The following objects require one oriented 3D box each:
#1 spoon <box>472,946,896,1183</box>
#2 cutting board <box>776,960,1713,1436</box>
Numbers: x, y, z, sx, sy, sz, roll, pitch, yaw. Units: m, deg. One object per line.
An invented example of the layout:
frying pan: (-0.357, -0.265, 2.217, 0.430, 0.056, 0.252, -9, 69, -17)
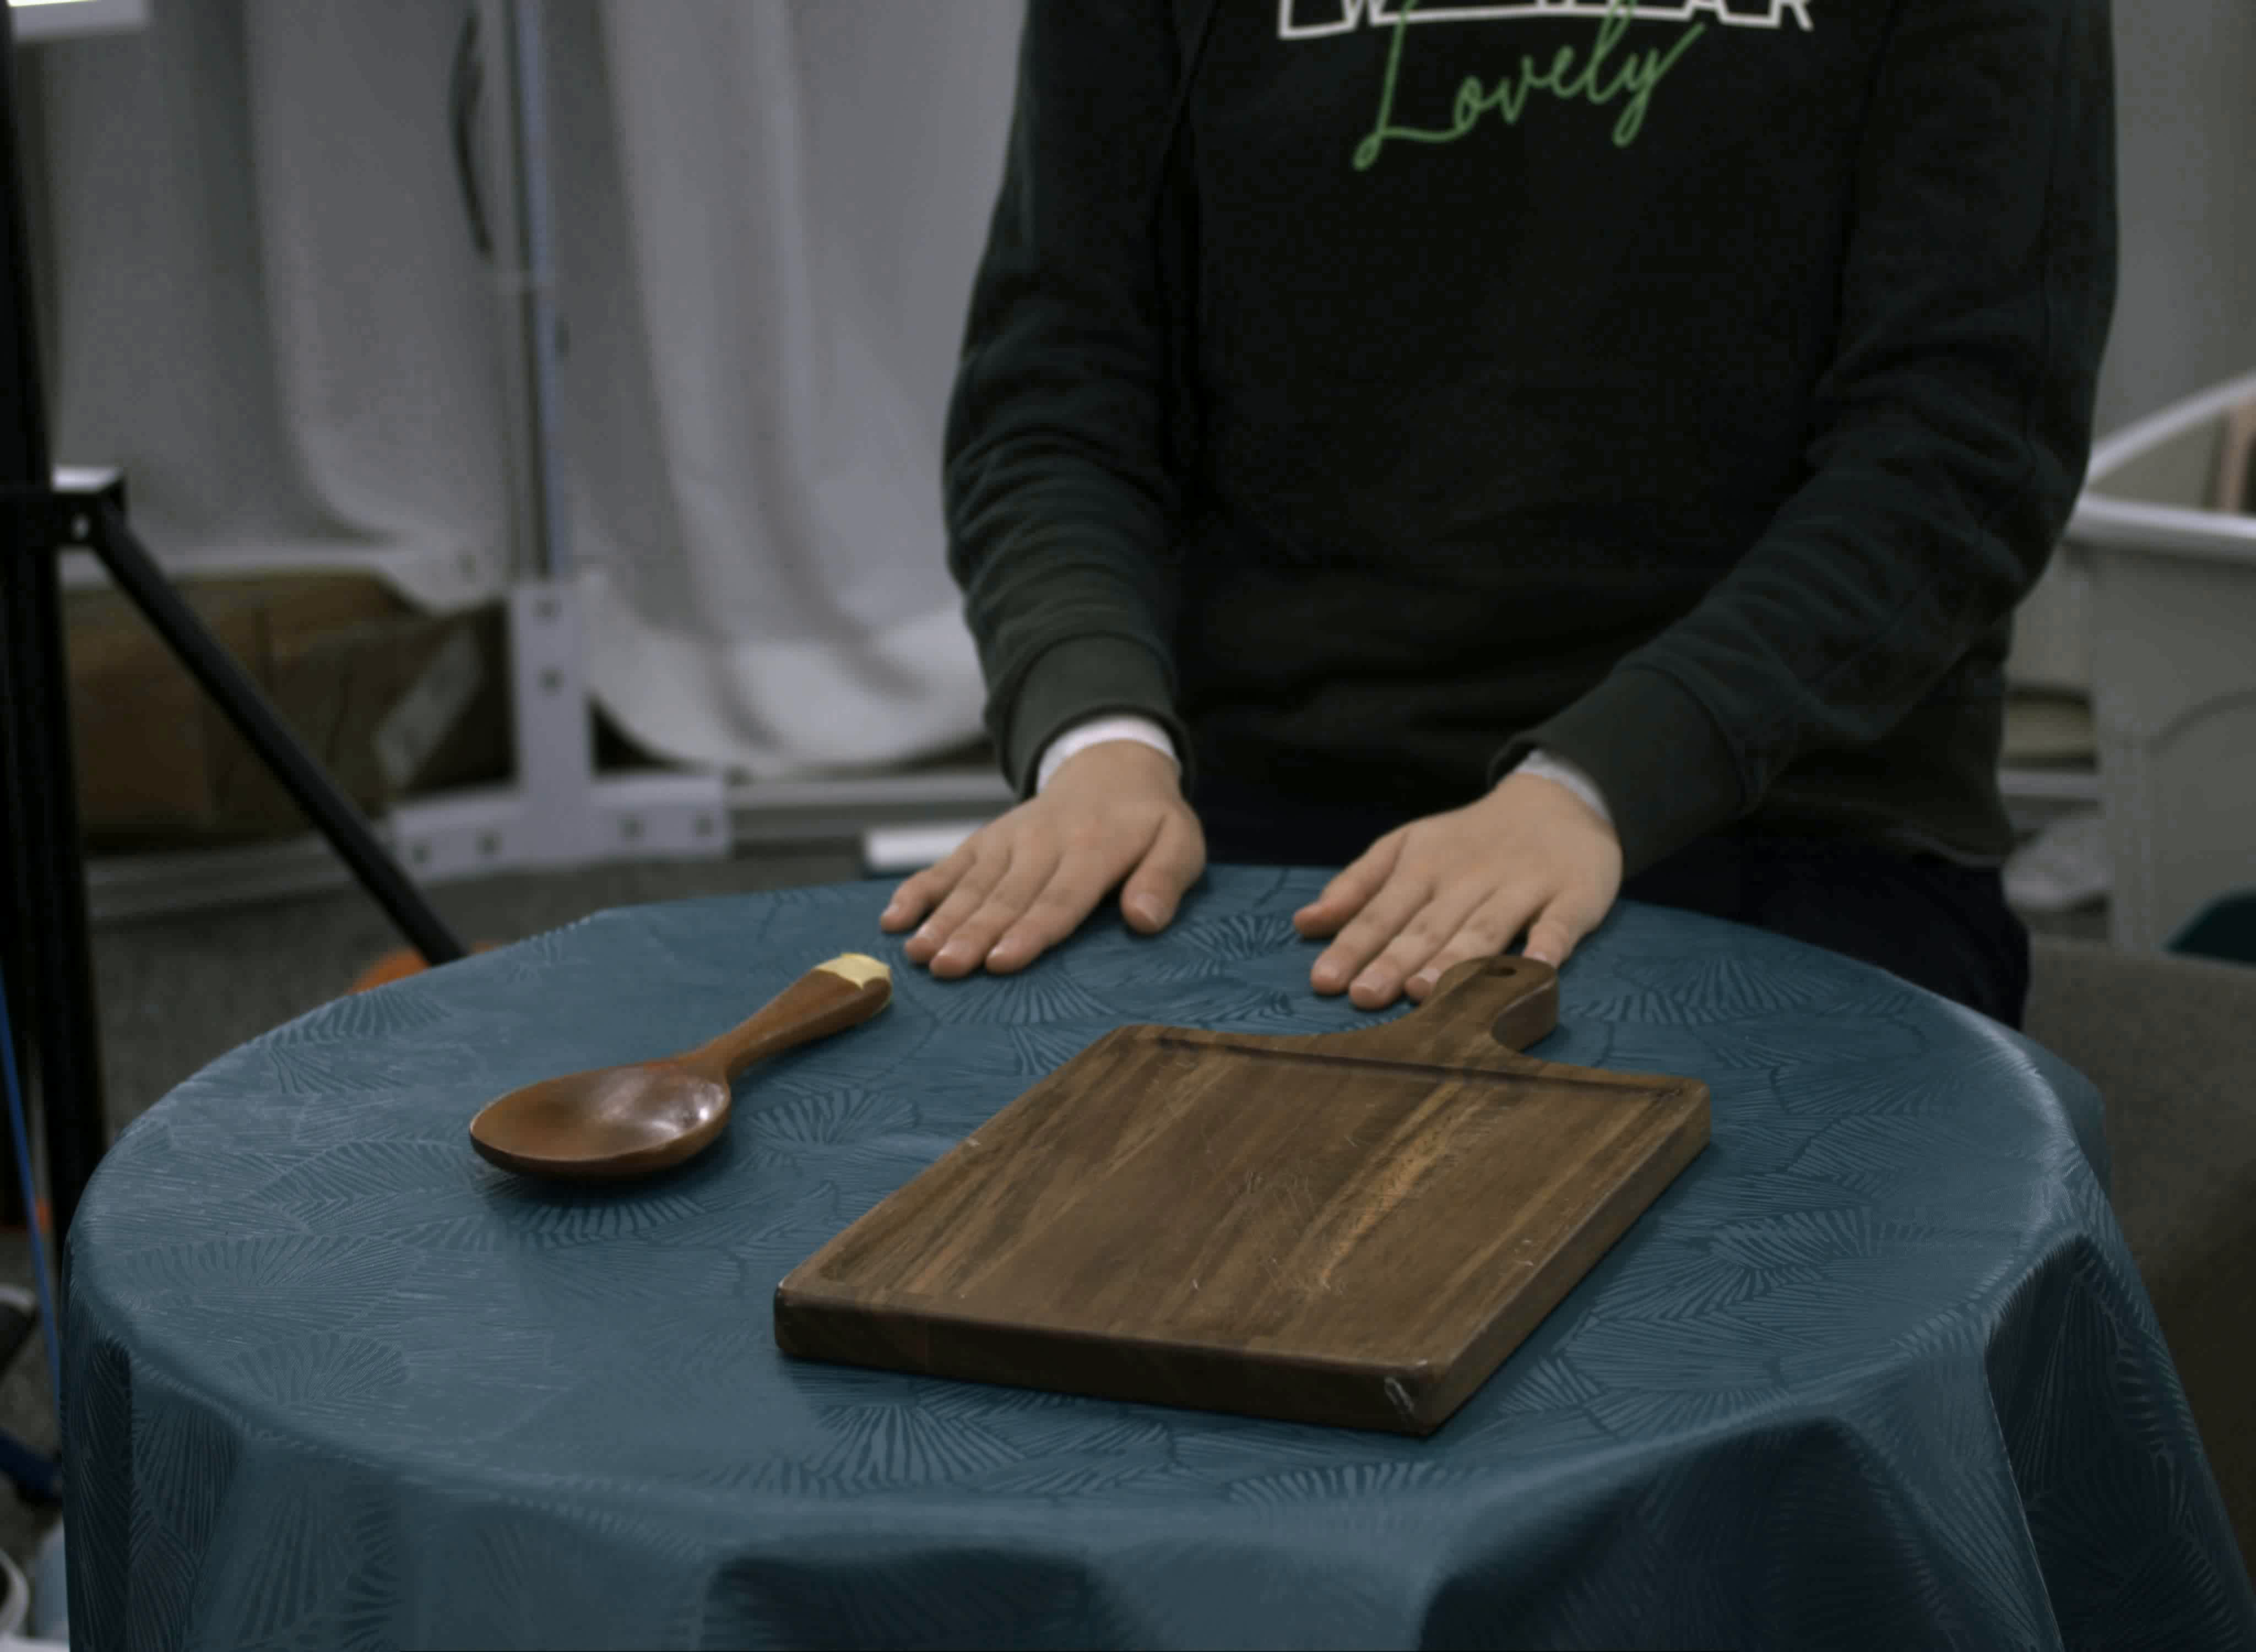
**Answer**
spoon: (-0.129, 0.076, 1.661, 0.076, 0.017, 0.212, 3, 17, 27)
cutting board: (0.058, 0.099, 1.551, 0.204, 0.023, 0.347, 3, 17, 24)
